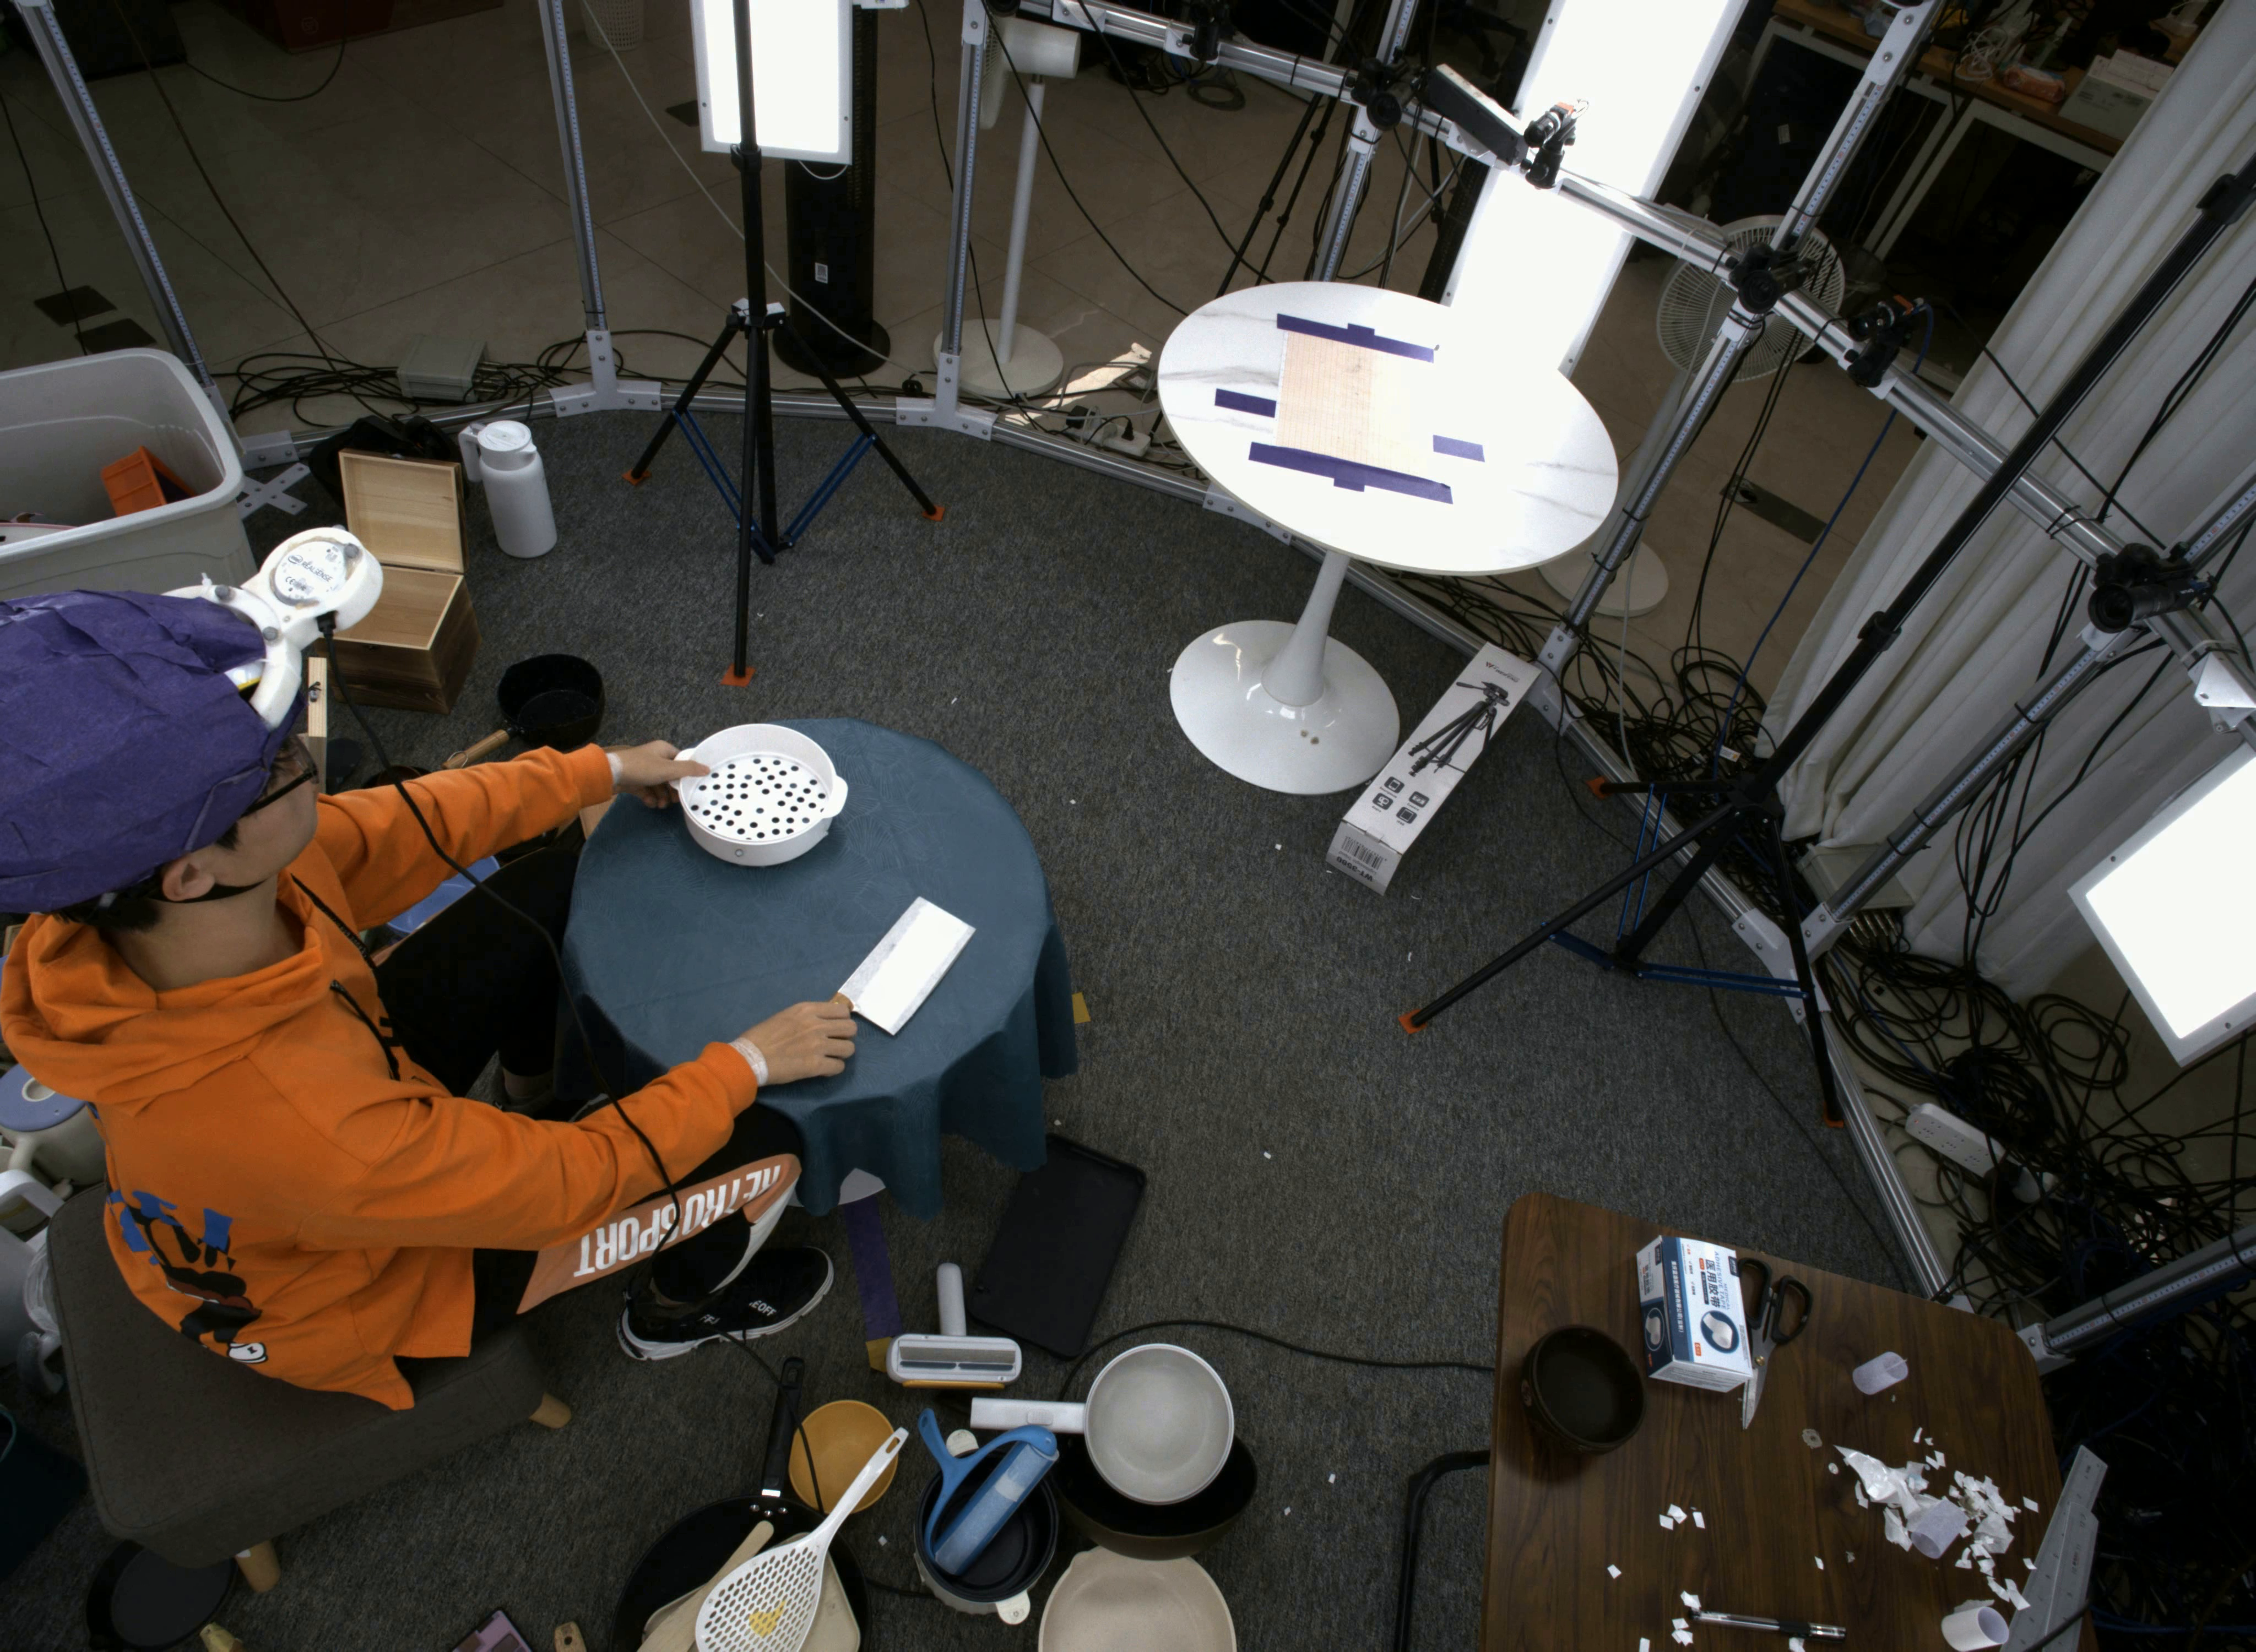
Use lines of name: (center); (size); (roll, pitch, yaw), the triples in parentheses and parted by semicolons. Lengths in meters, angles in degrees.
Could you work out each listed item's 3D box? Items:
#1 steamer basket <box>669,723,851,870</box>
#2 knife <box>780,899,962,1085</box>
steamer basket: (-0.478, -0.039, 1.684); (0.230, 0.070, 0.198); (12, 52, -8)
knife: (-0.302, 0.204, 1.583); (0.092, 0.021, 0.304); (30, 50, 6)
